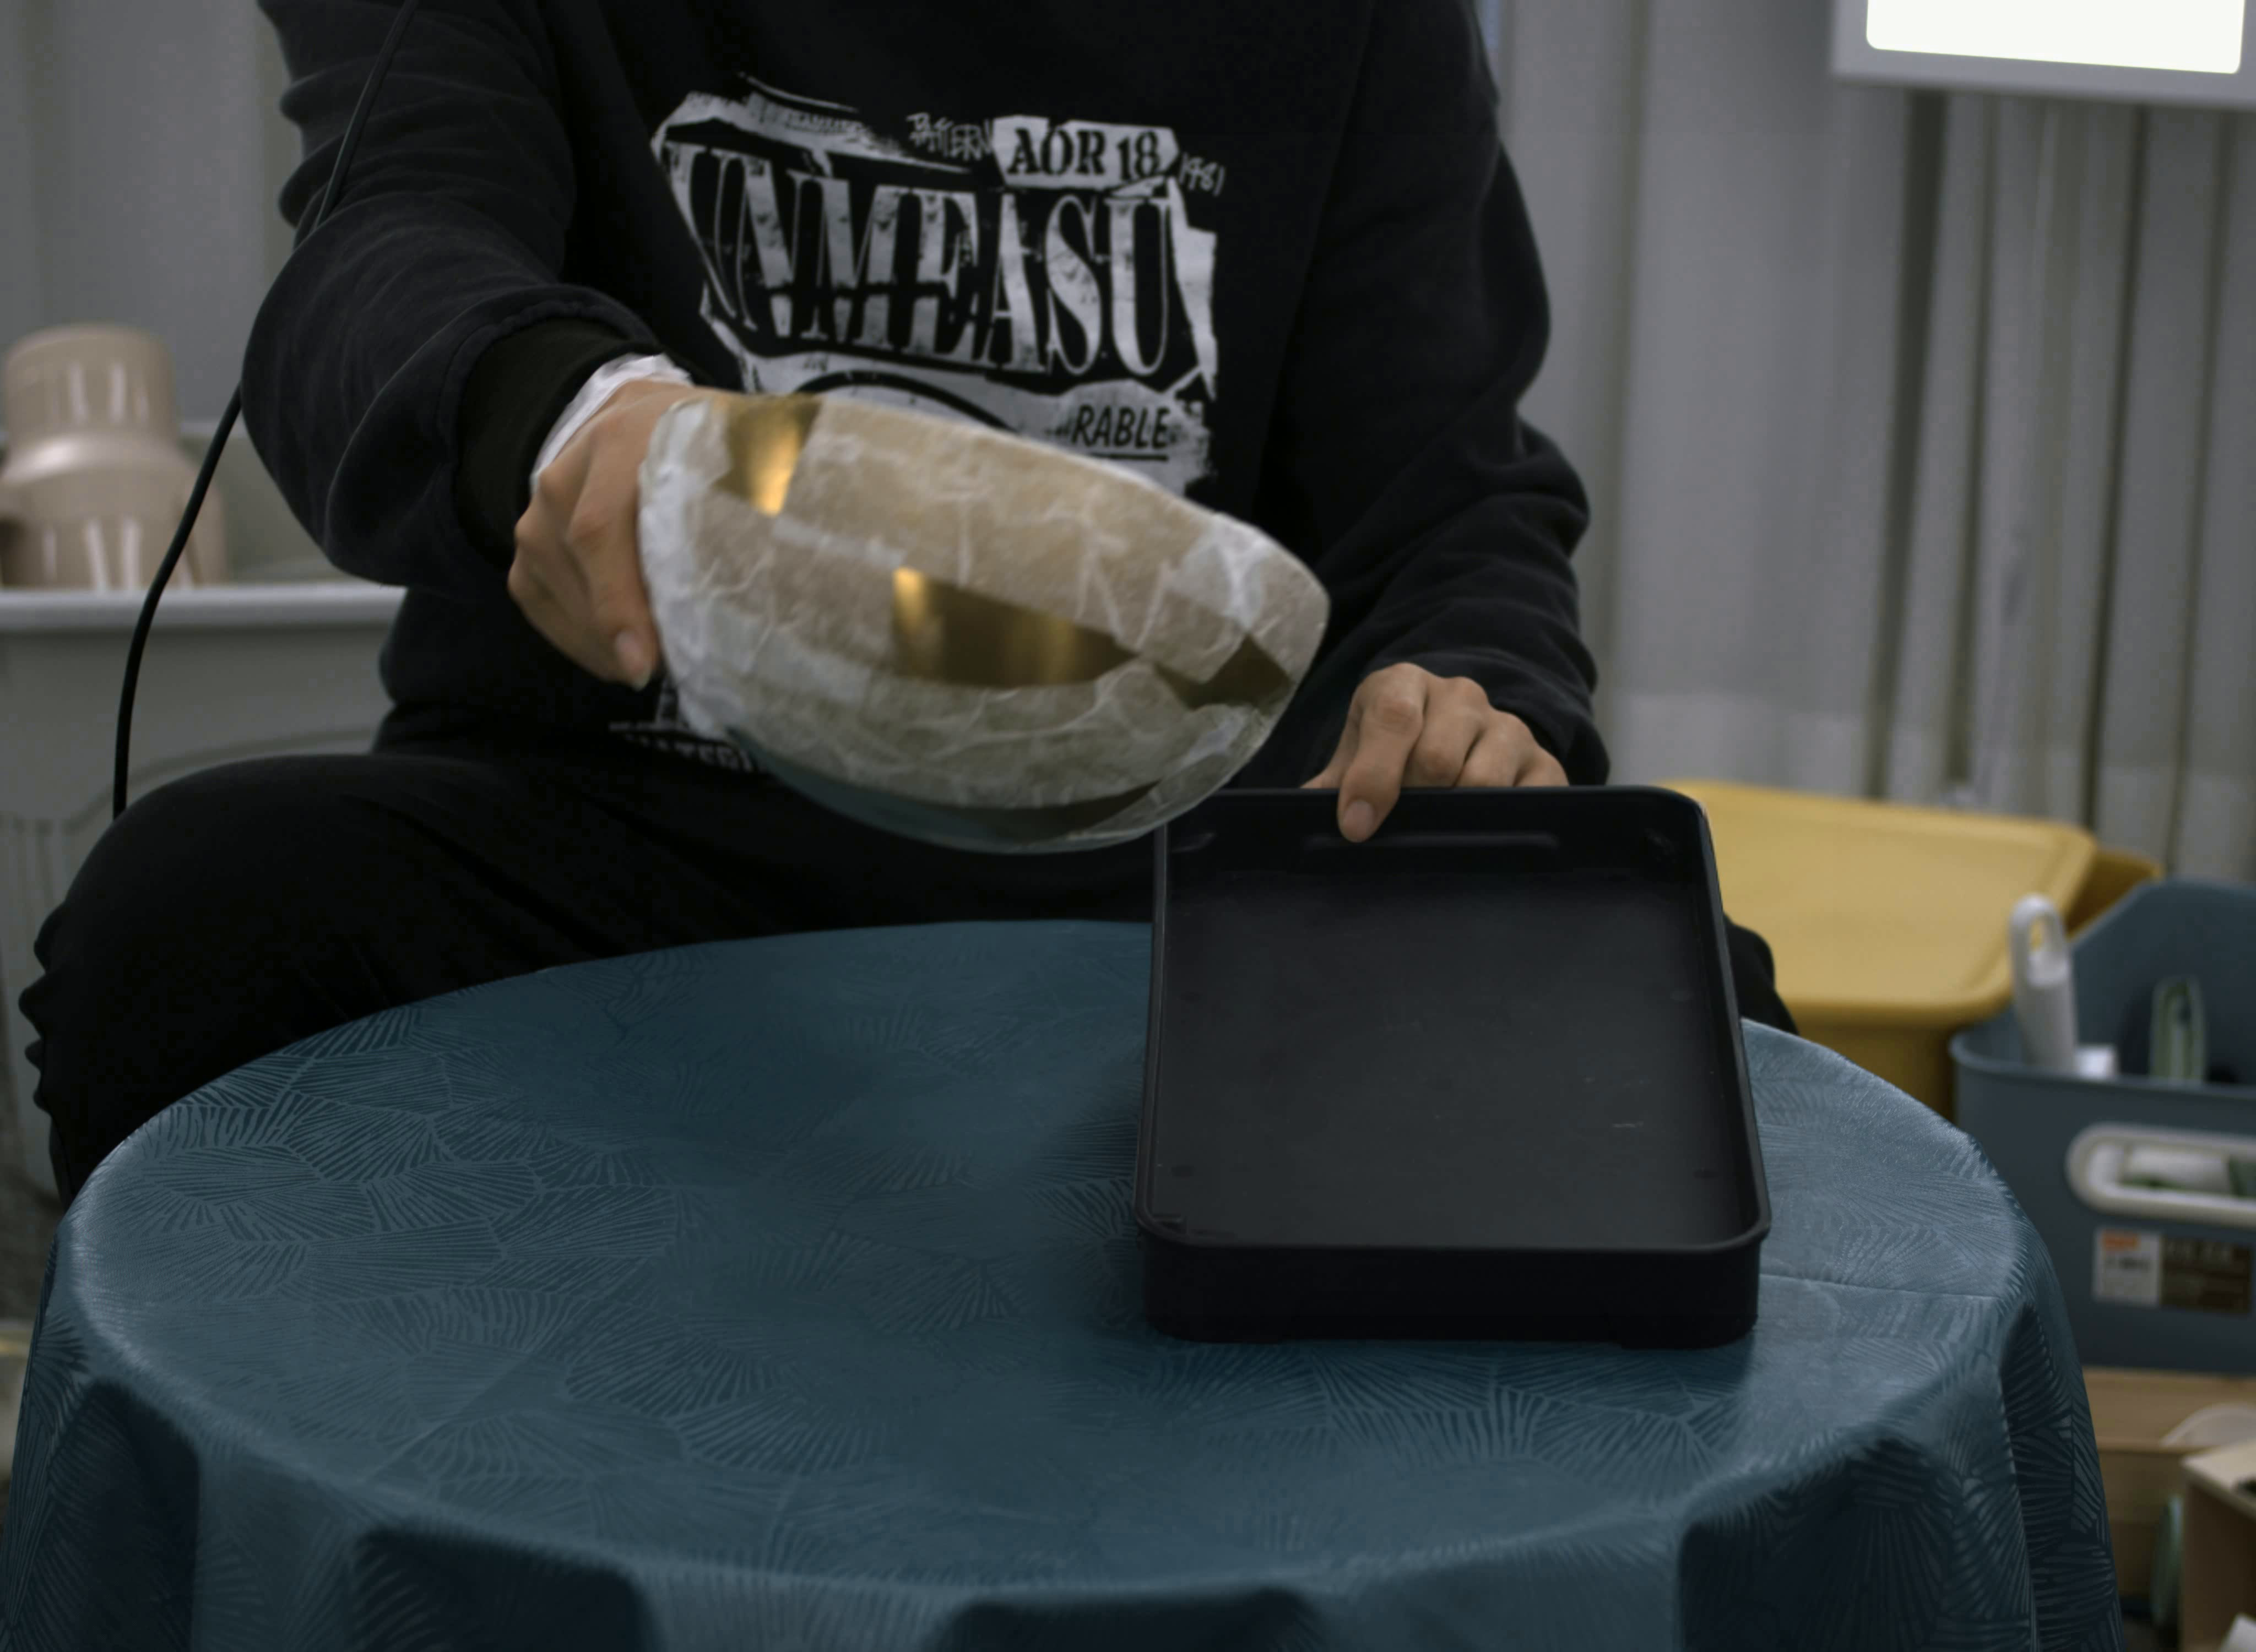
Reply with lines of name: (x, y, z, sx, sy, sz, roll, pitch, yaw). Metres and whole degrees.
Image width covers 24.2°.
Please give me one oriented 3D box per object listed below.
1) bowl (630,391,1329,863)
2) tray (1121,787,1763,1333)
bowl: (-0.051, -0.043, 1.487, 0.214, 0.094, 0.215, 14, -9, 3)
tray: (0.097, 0.066, 1.631, 0.183, 0.037, 0.316, 0, 24, 3)
